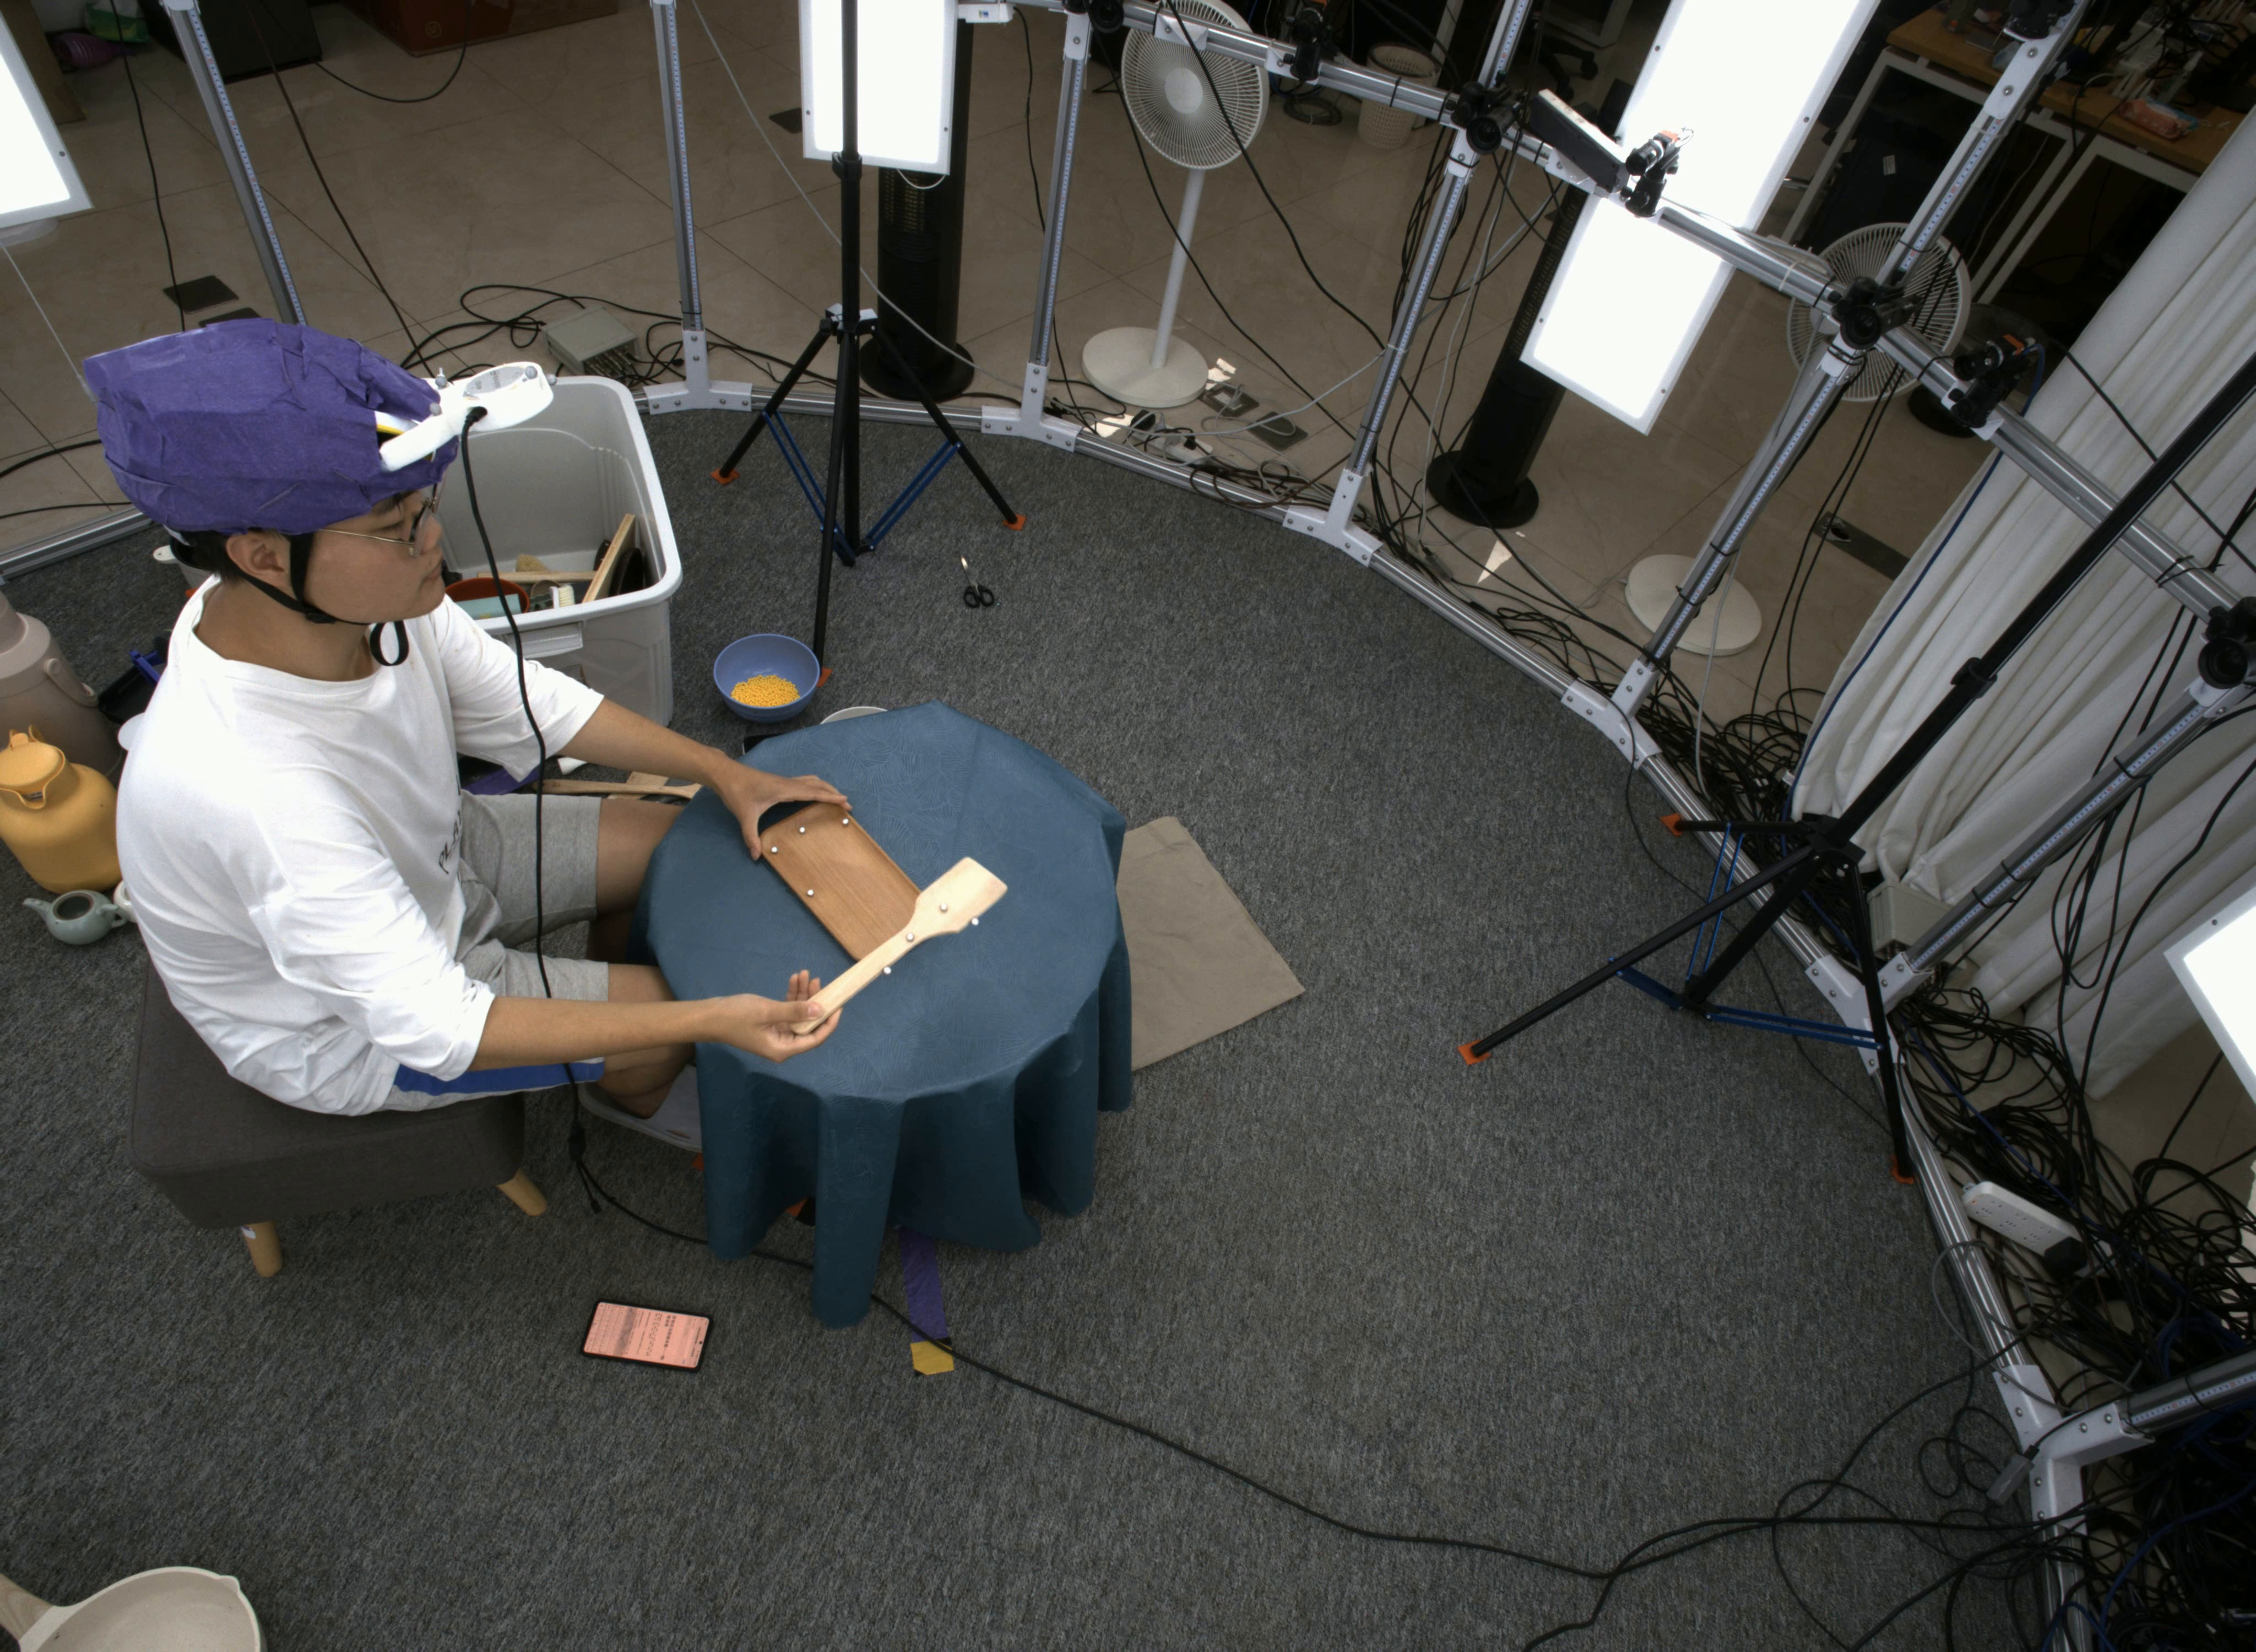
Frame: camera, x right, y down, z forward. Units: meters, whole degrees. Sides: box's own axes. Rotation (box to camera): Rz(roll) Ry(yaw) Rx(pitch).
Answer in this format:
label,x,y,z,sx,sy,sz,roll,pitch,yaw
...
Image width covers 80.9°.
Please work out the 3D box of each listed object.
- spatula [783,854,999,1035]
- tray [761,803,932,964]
label,x,y,z,sx,sy,sz,roll,pitch,yaw
spatula,-0.263,0.131,1.440,0.070,0.011,0.293,35,55,21
tray,-0.363,0.072,1.686,0.131,0.023,0.245,-33,68,-28
